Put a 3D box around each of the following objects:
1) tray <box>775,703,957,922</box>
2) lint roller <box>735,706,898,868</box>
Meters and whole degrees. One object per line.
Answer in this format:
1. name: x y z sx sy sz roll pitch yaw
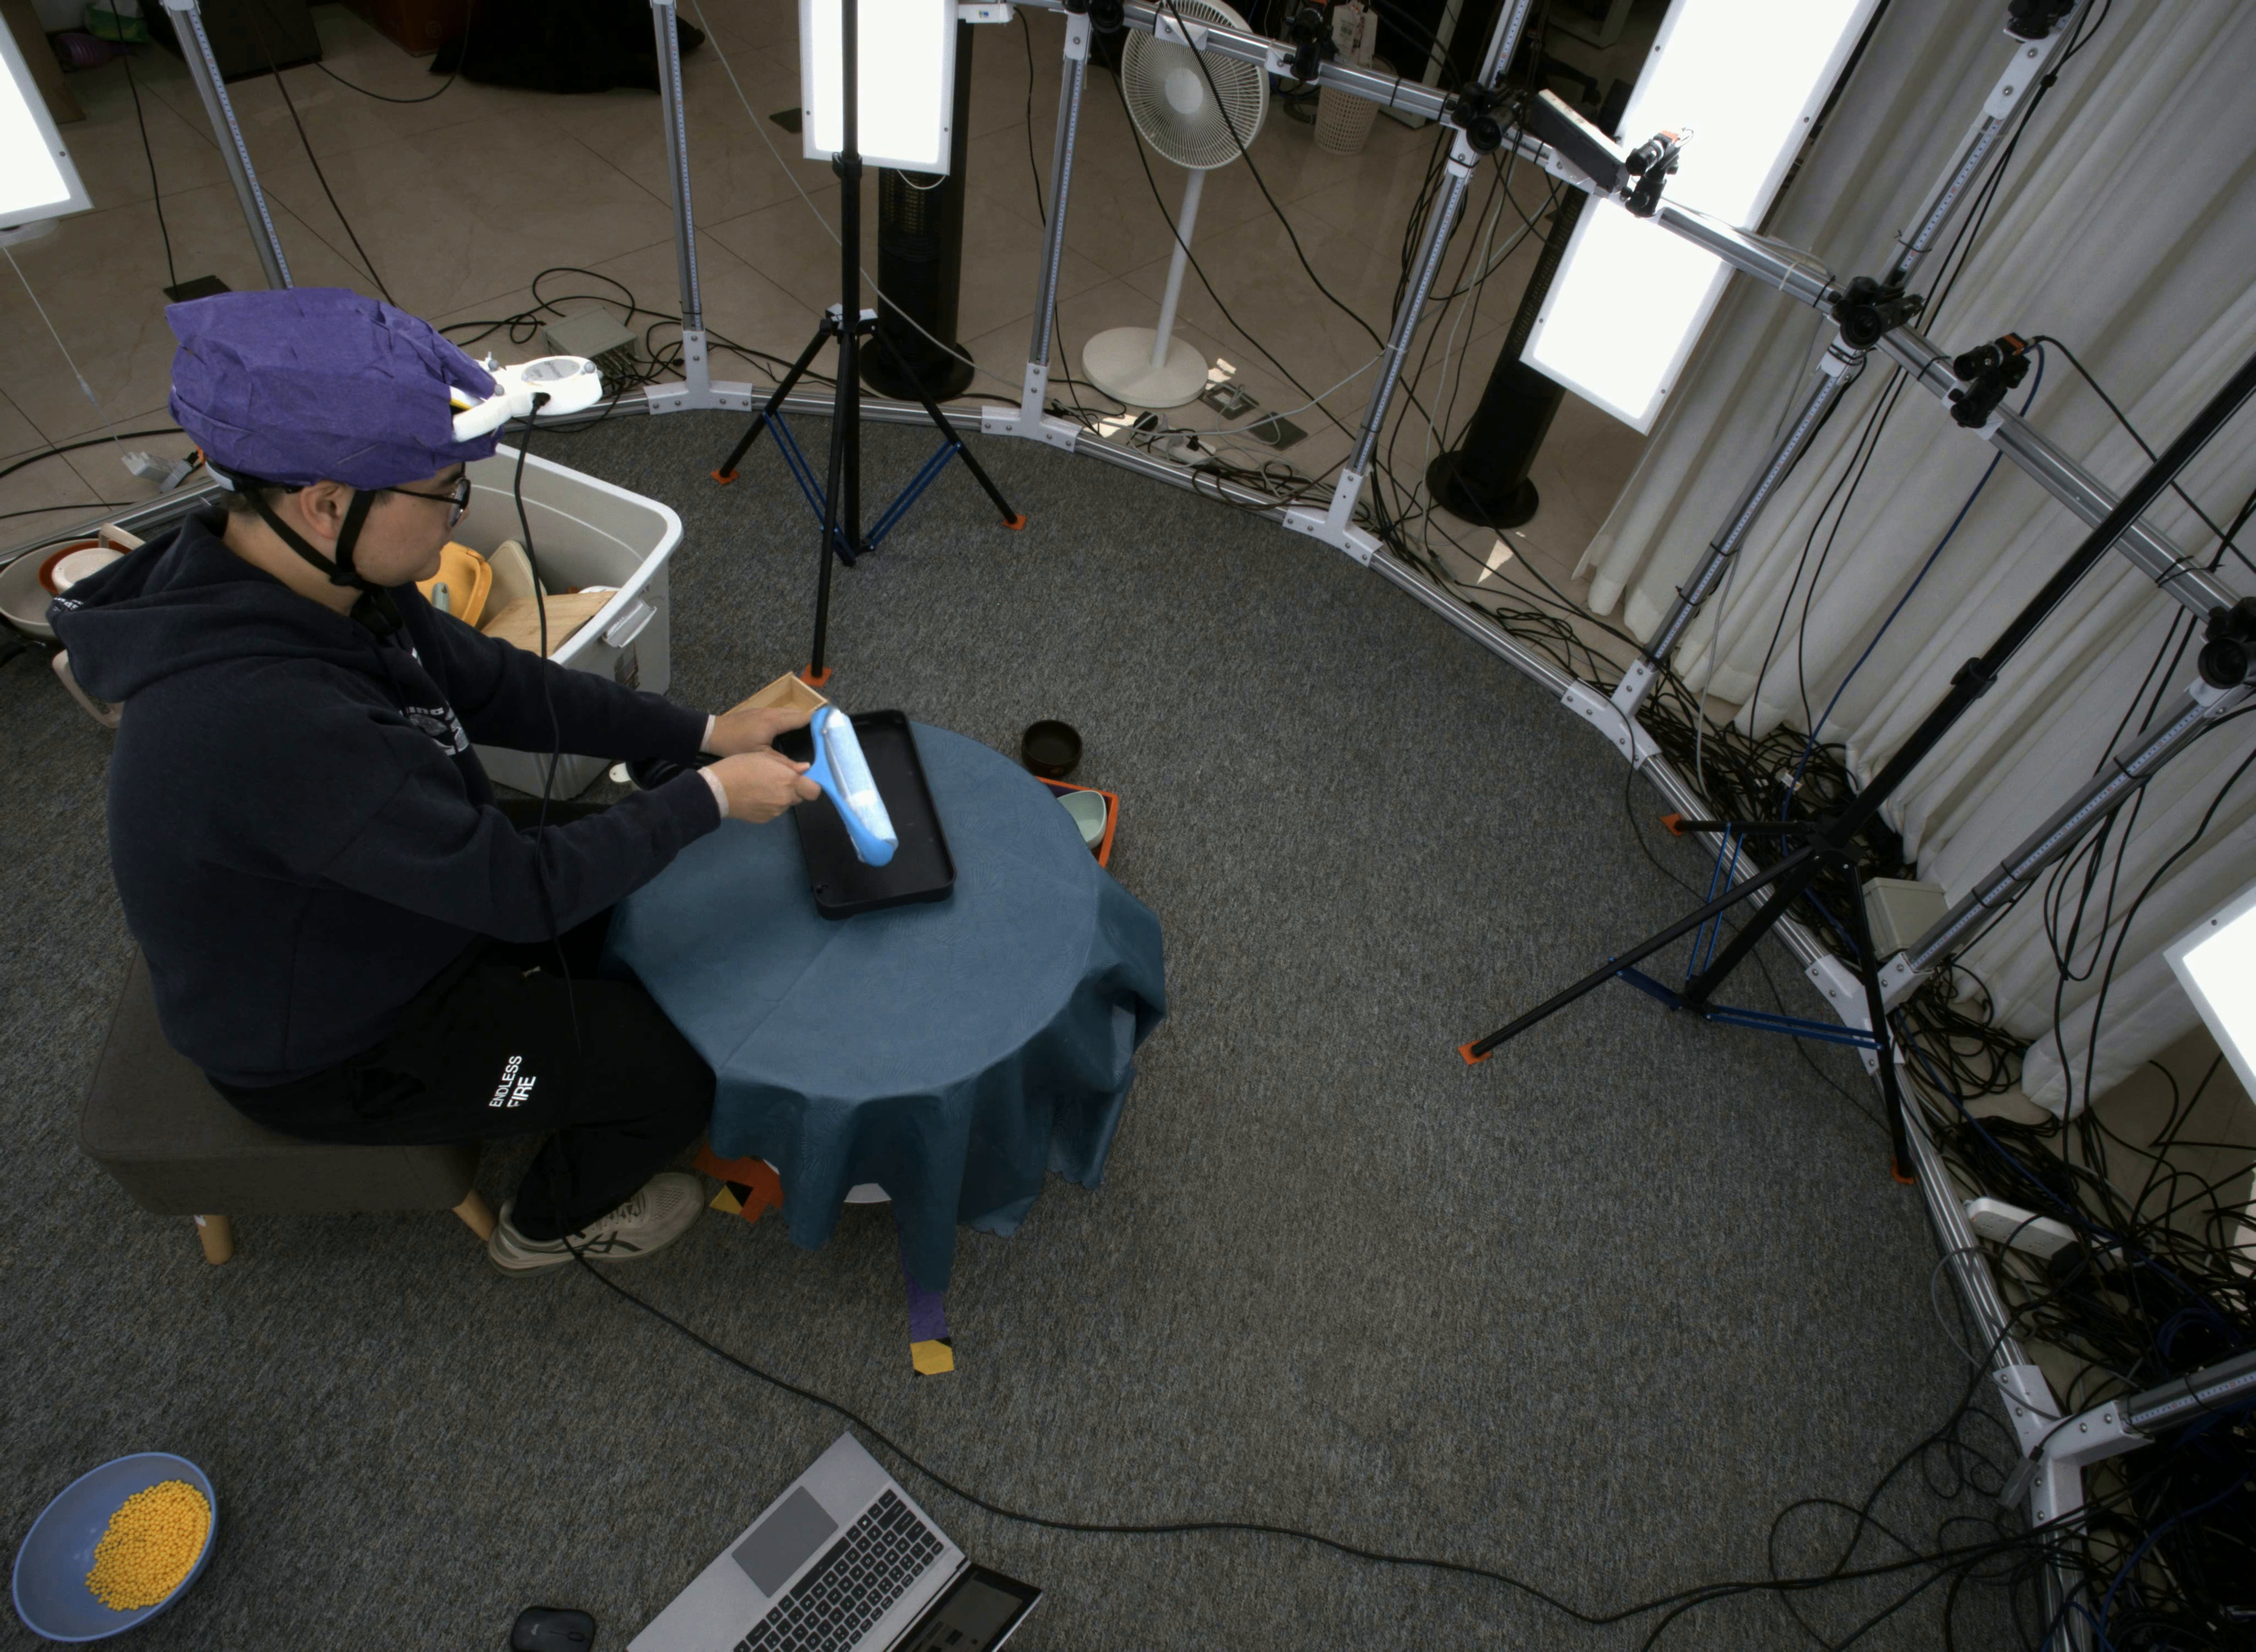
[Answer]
1. tray: -0.354 -0.025 1.737 0.185 0.038 0.311 -10 59 -21
2. lint roller: -0.389 -0.048 1.599 0.183 0.067 0.226 -5 64 -46
